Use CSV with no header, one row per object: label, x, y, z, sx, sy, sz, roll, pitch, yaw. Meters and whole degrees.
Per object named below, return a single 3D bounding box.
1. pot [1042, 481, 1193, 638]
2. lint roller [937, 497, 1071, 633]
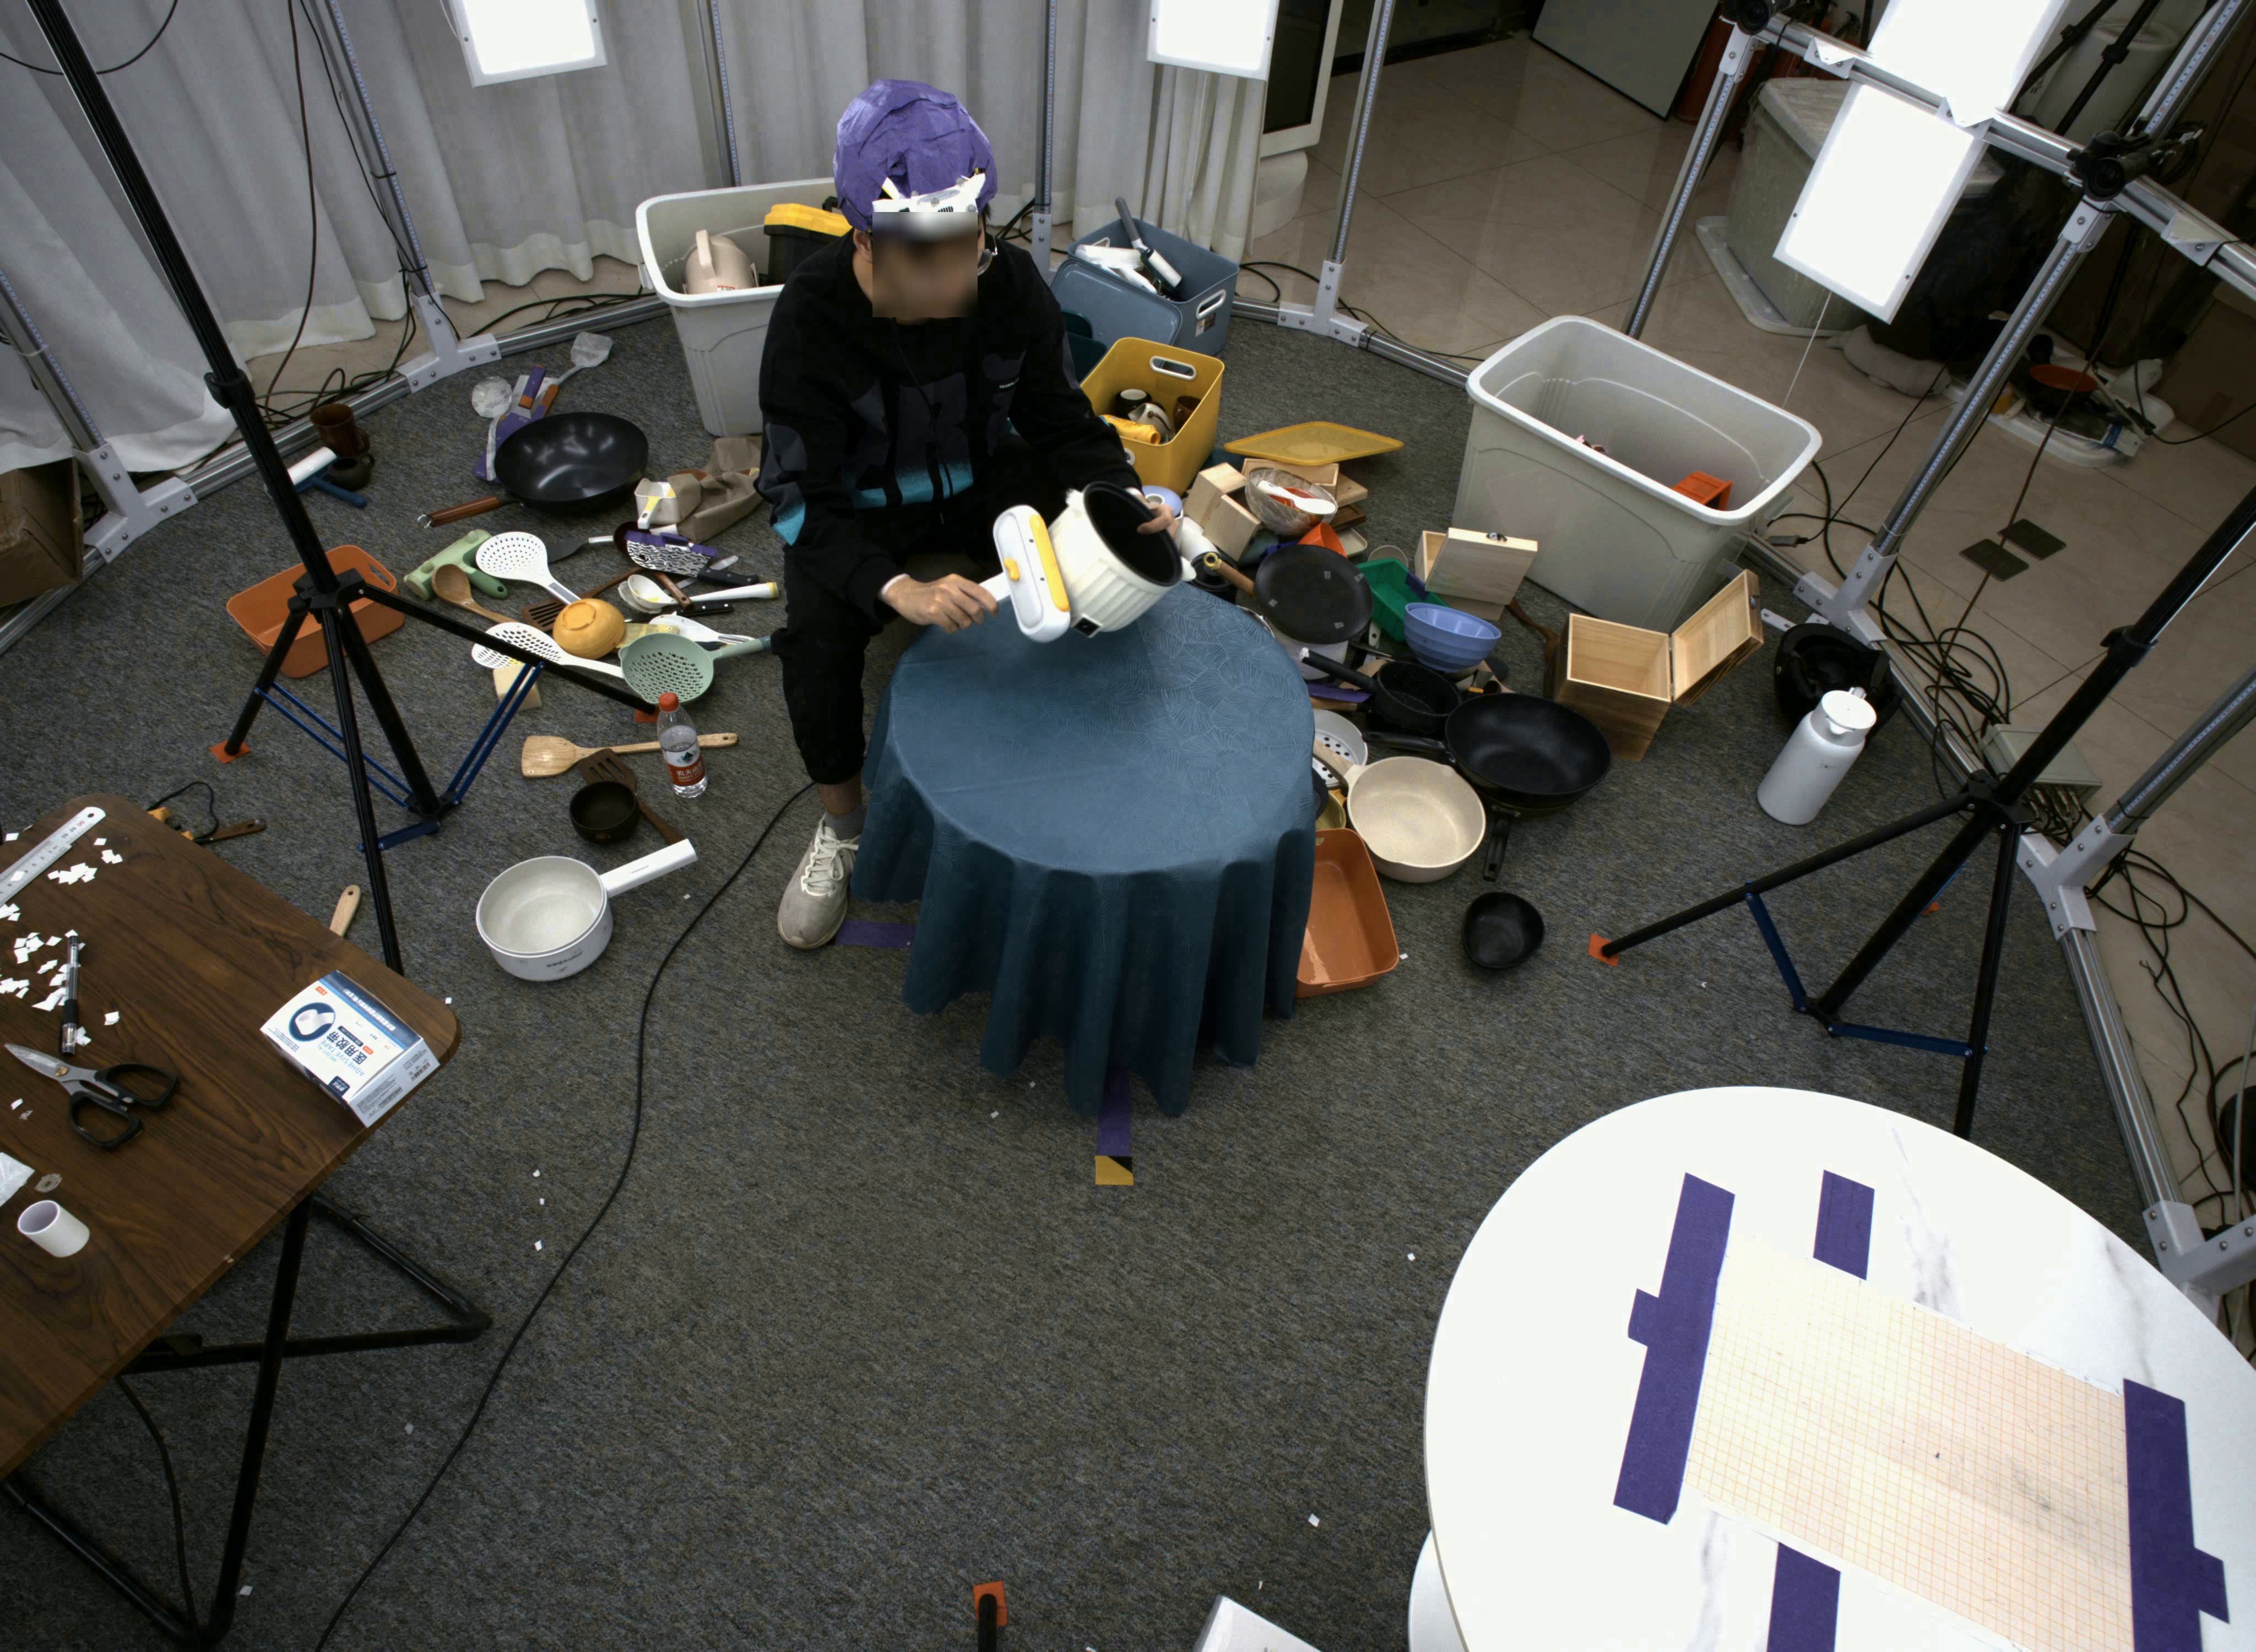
pot,-0.039,-0.375,1.813,0.237,0.141,0.195,25,44,-34
lint roller,-0.180,-0.329,1.769,0.074,0.191,0.195,-6,70,-55
